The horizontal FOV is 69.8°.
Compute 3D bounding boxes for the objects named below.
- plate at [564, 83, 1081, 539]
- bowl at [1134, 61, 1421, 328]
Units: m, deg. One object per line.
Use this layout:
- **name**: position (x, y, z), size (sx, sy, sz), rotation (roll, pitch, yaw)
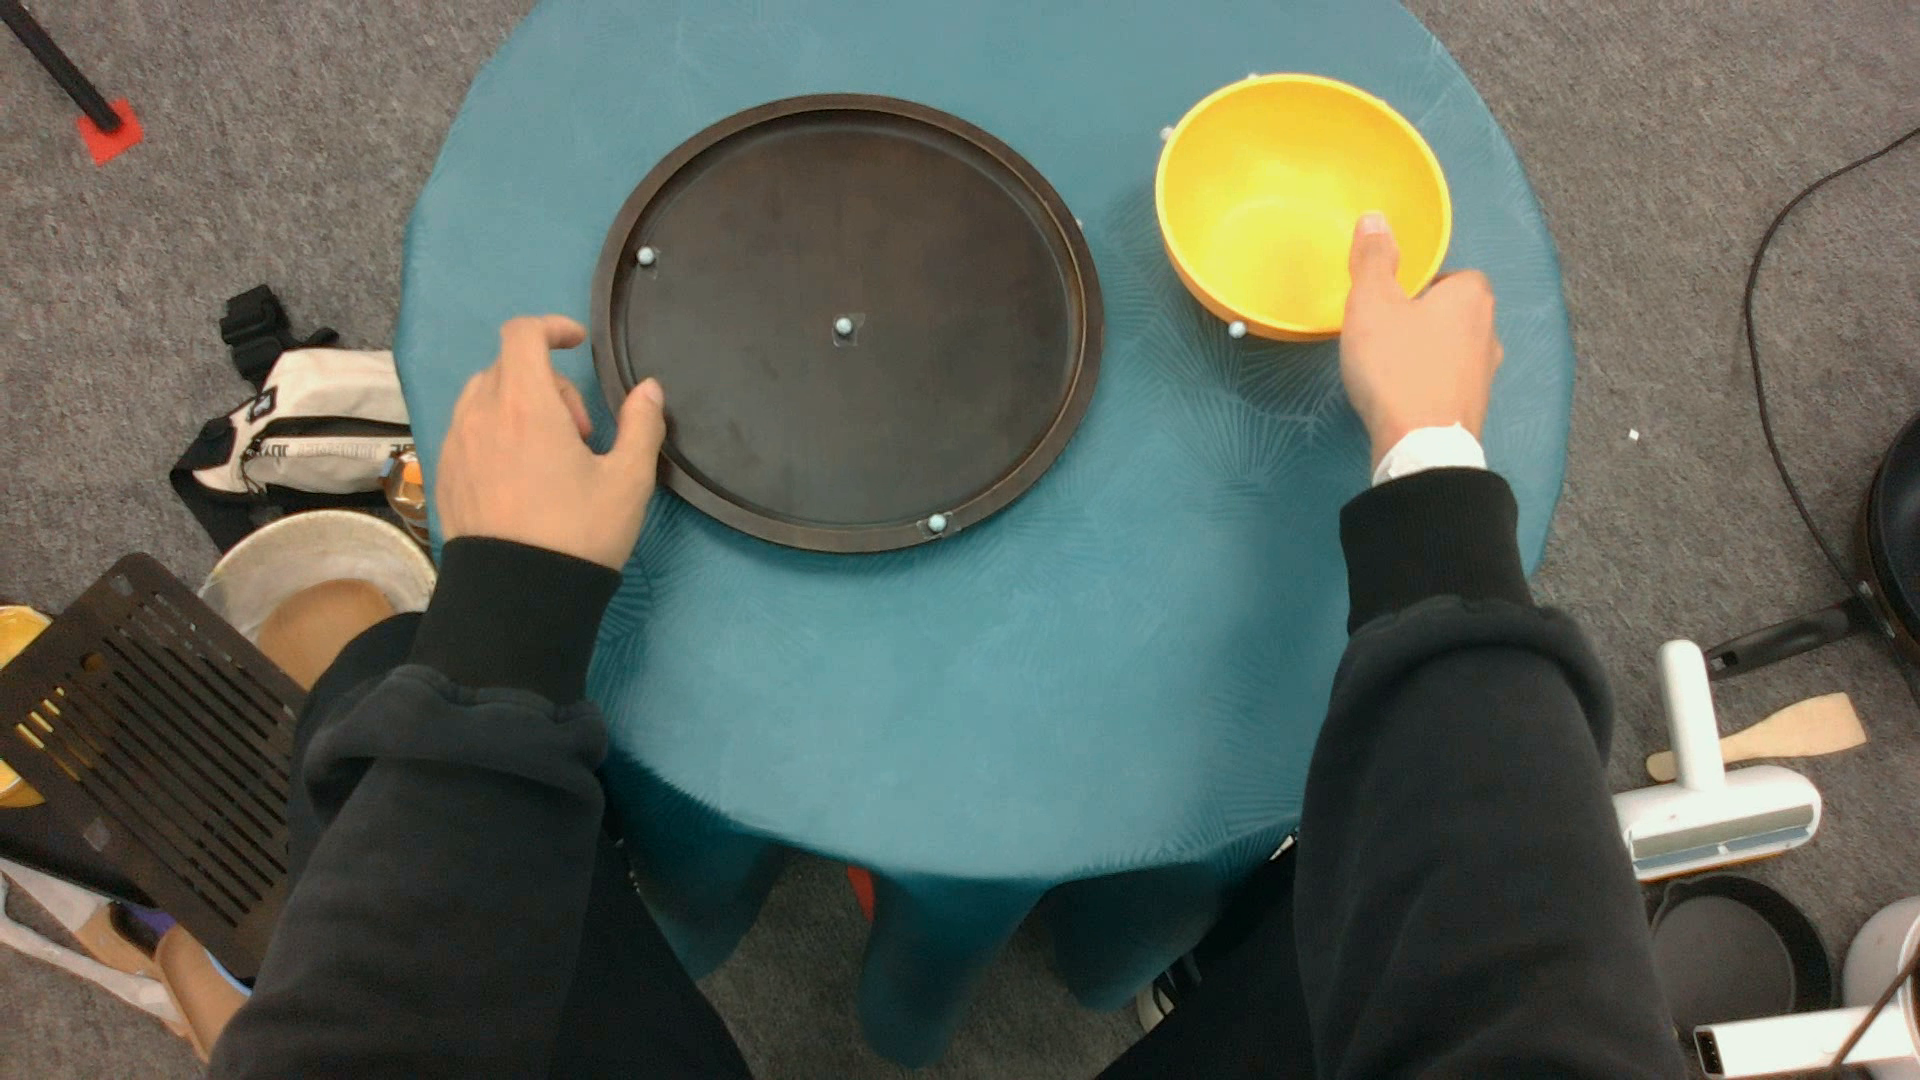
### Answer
- **plate**: position (-0.066, -0.118, 0.685), size (0.255, 0.029, 0.255), rotation (2, 71, -6)
- **bowl**: position (0.156, -0.166, 0.705), size (0.145, 0.060, 0.145), rotation (1, 74, -4)
